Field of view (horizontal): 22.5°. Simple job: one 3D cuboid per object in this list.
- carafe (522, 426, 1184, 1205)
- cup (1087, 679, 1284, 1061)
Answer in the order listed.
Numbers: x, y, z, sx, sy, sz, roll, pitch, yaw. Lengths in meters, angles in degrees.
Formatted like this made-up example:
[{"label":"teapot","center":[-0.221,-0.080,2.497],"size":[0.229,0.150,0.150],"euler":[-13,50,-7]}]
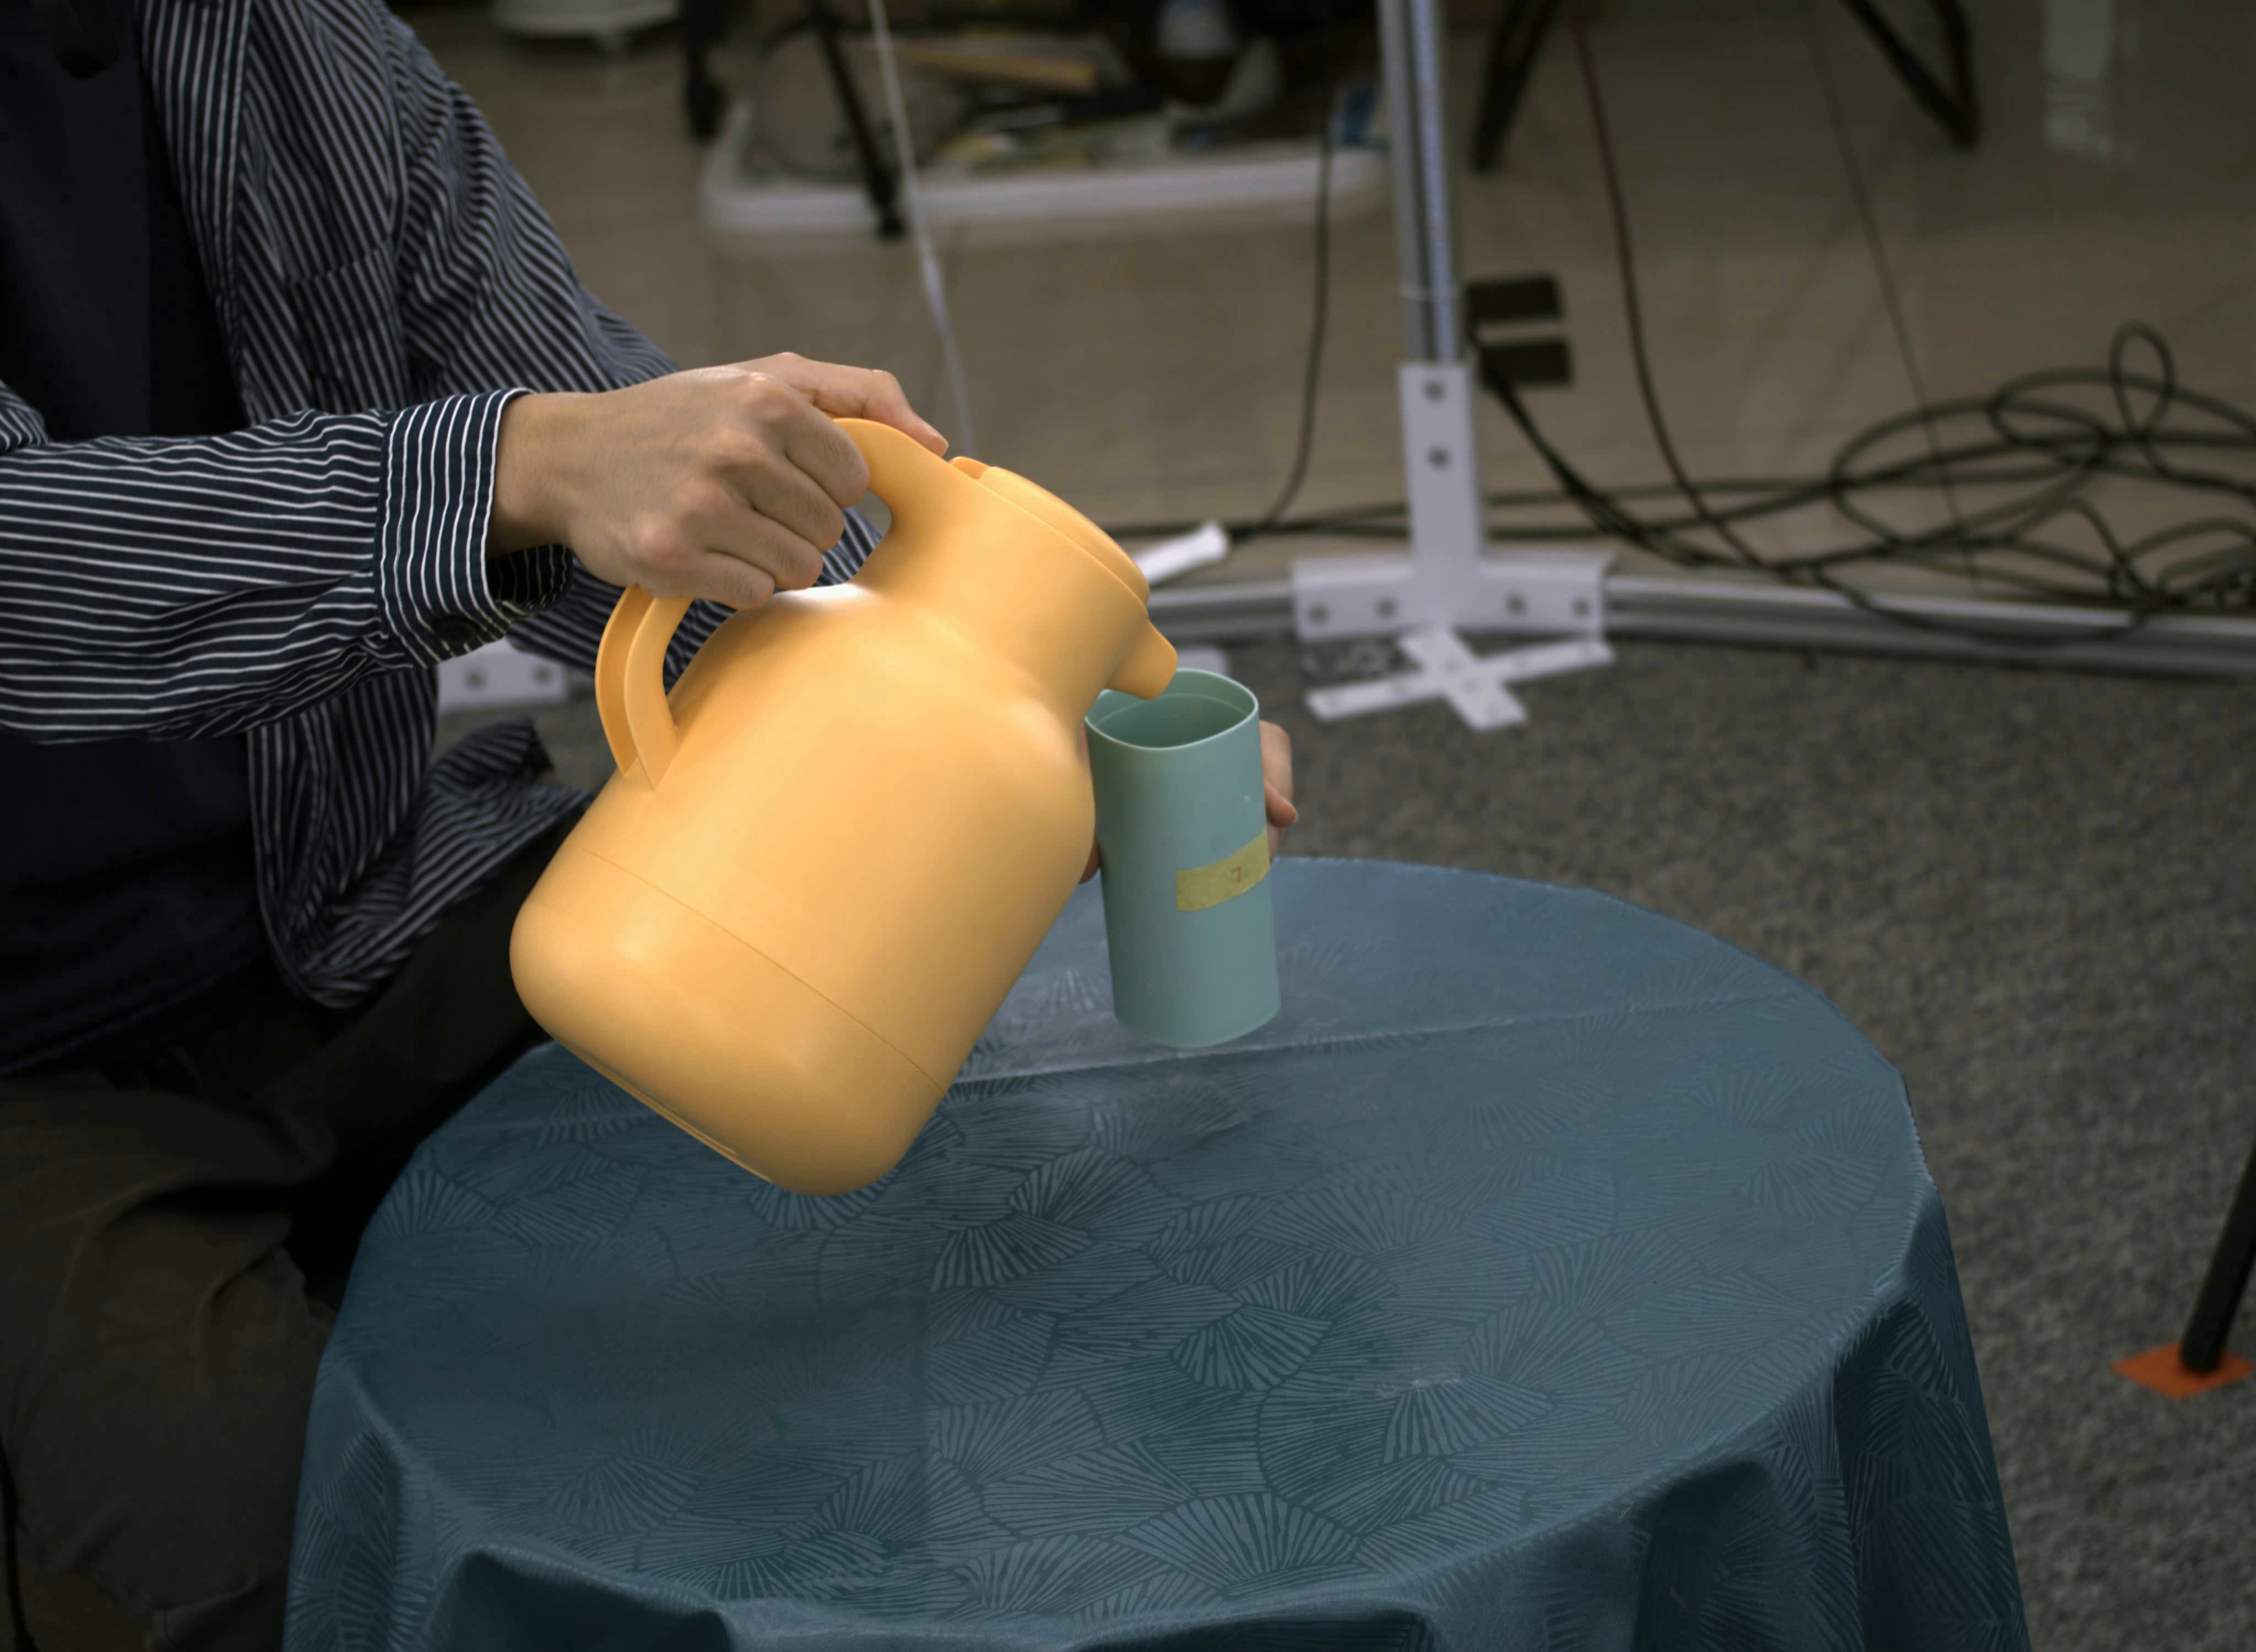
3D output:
[{"label":"carafe","center":[-0.105,-0.013,2.033],"size":[0.259,0.204,0.162],"euler":[-56,34,-7]},{"label":"cup","center":[0.022,0.016,2.156],"size":[0.066,0.134,0.065],"euler":[-4,30,3]}]
